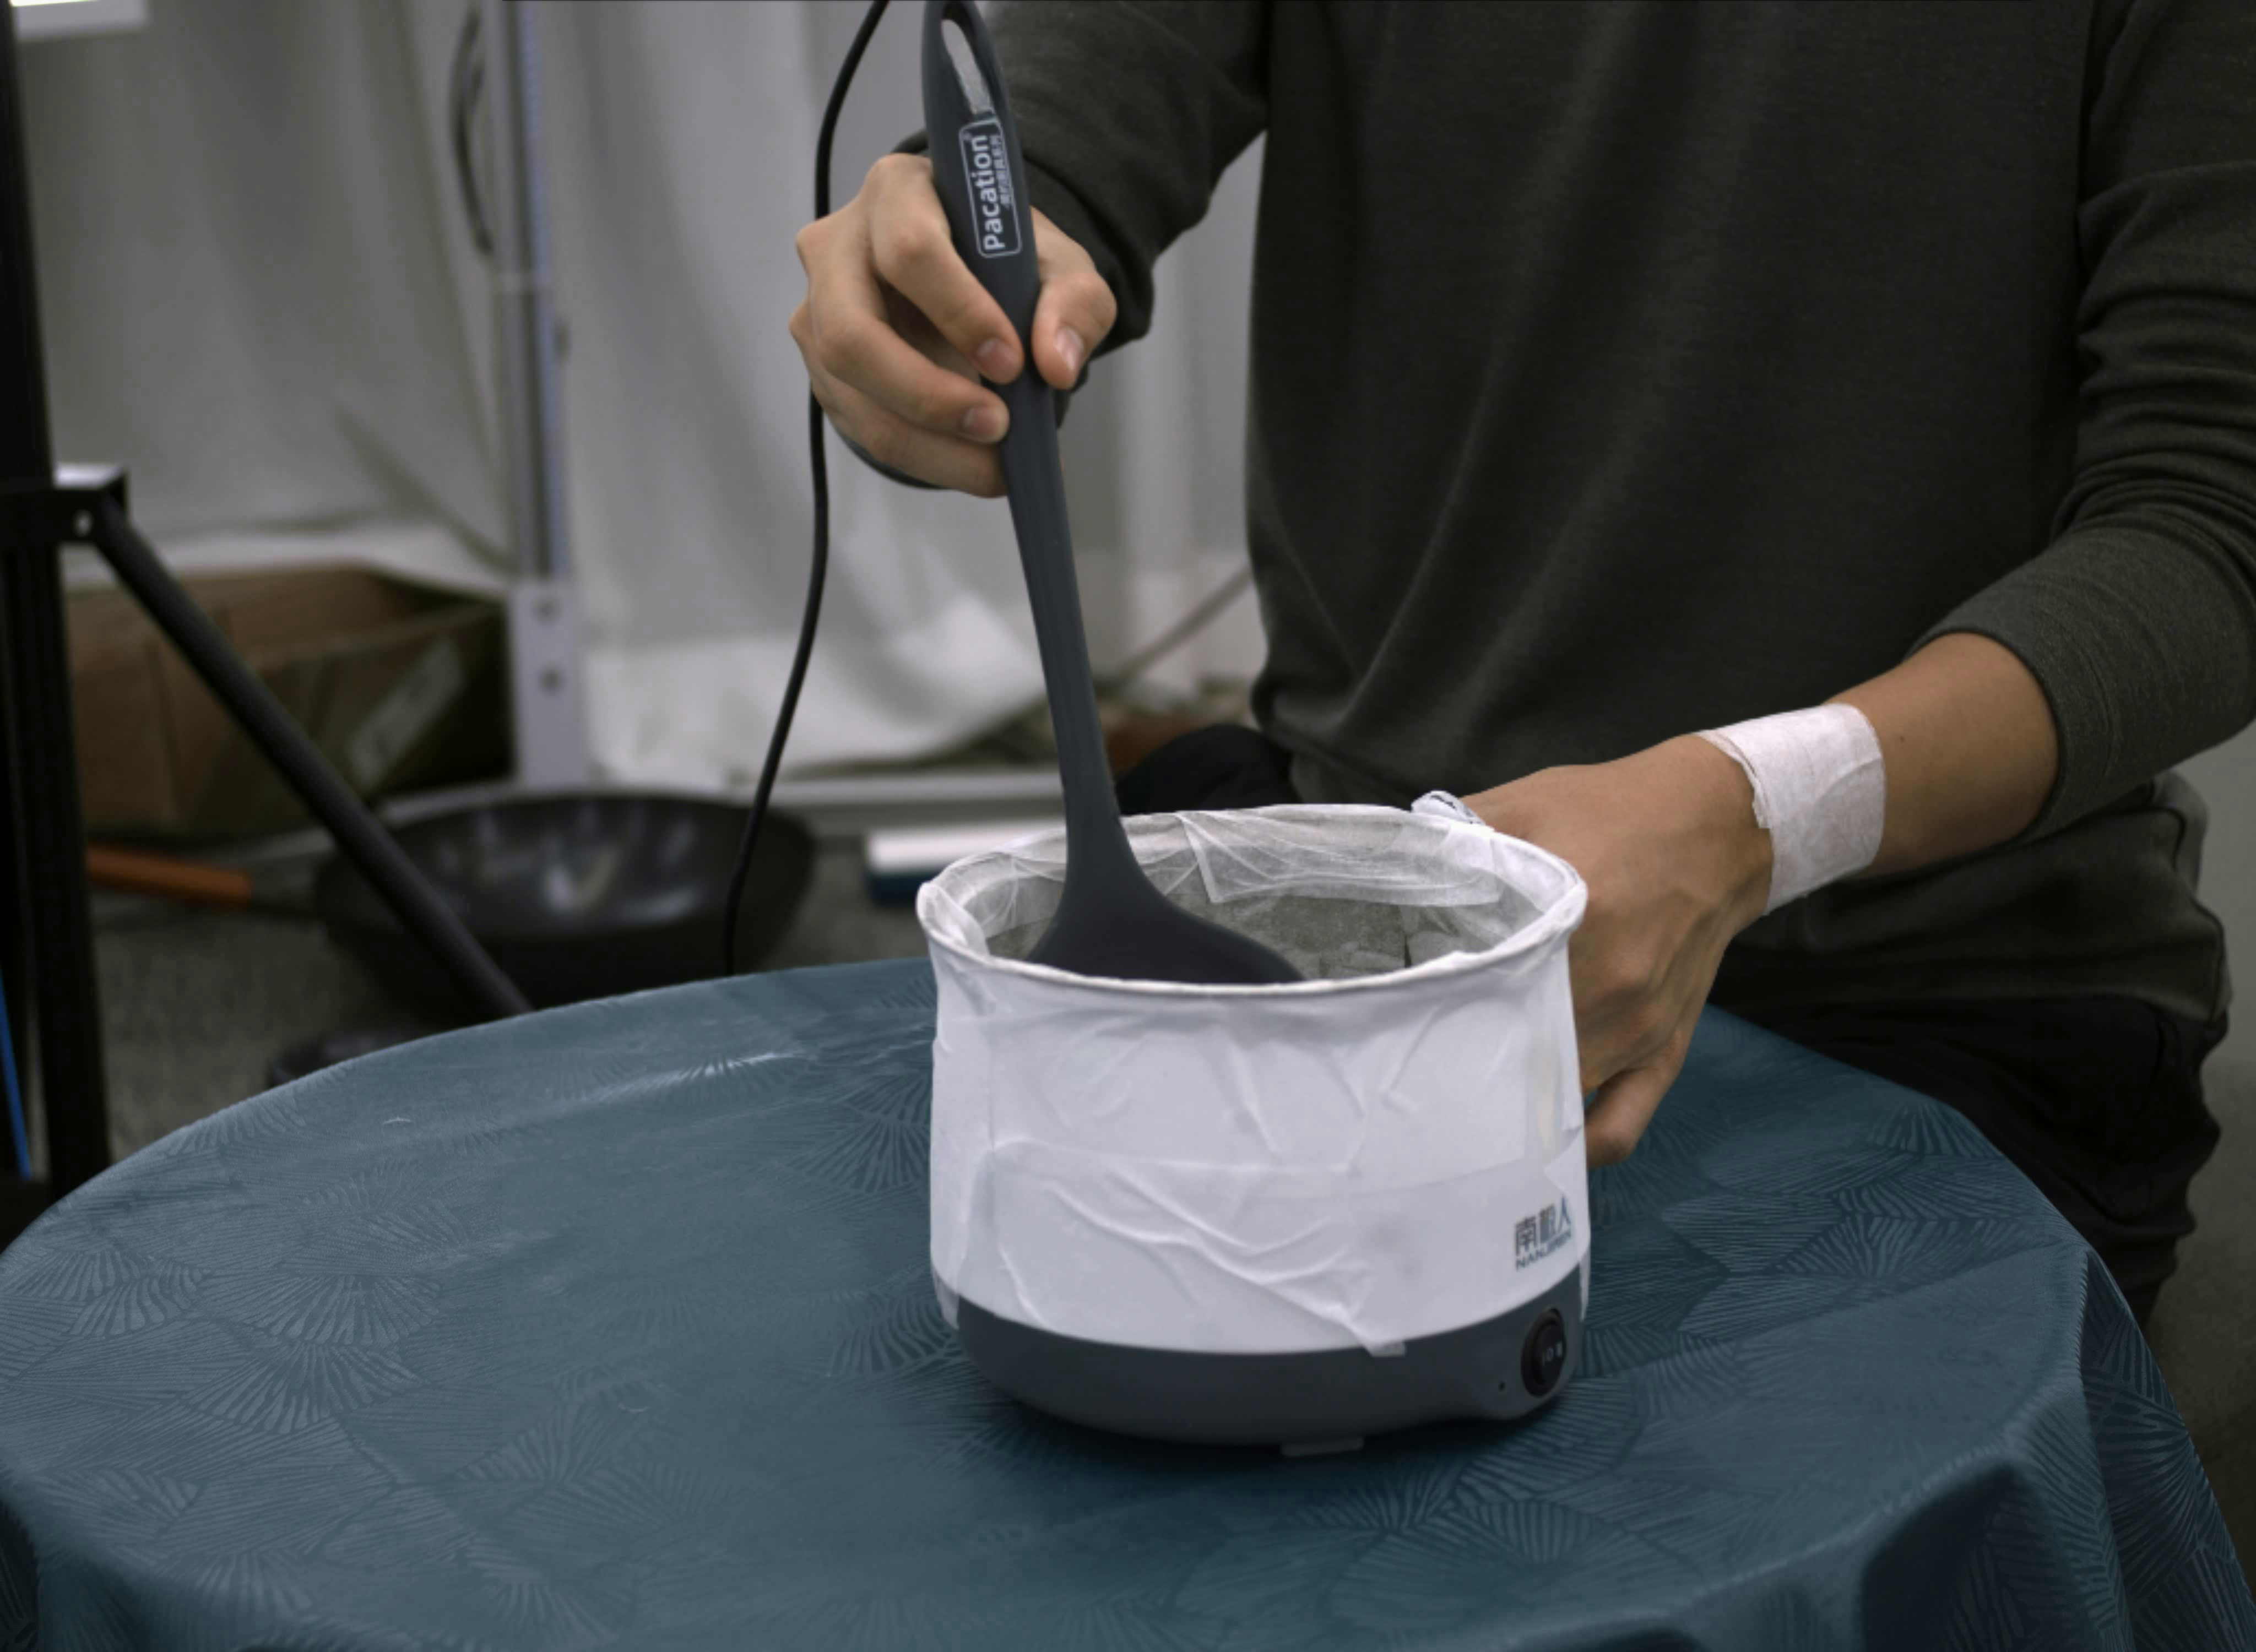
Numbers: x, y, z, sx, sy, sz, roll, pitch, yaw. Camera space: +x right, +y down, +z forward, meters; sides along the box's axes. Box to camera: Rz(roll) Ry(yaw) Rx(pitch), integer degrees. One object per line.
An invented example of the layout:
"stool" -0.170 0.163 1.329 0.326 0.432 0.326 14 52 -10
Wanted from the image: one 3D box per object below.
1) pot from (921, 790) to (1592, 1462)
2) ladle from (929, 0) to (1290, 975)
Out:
"pot" 0.050 0.073 1.428 0.182 0.136 0.229 8 18 32
"ladle" -0.013 -0.071 1.411 0.085 0.316 0.064 -9 -3 -18
